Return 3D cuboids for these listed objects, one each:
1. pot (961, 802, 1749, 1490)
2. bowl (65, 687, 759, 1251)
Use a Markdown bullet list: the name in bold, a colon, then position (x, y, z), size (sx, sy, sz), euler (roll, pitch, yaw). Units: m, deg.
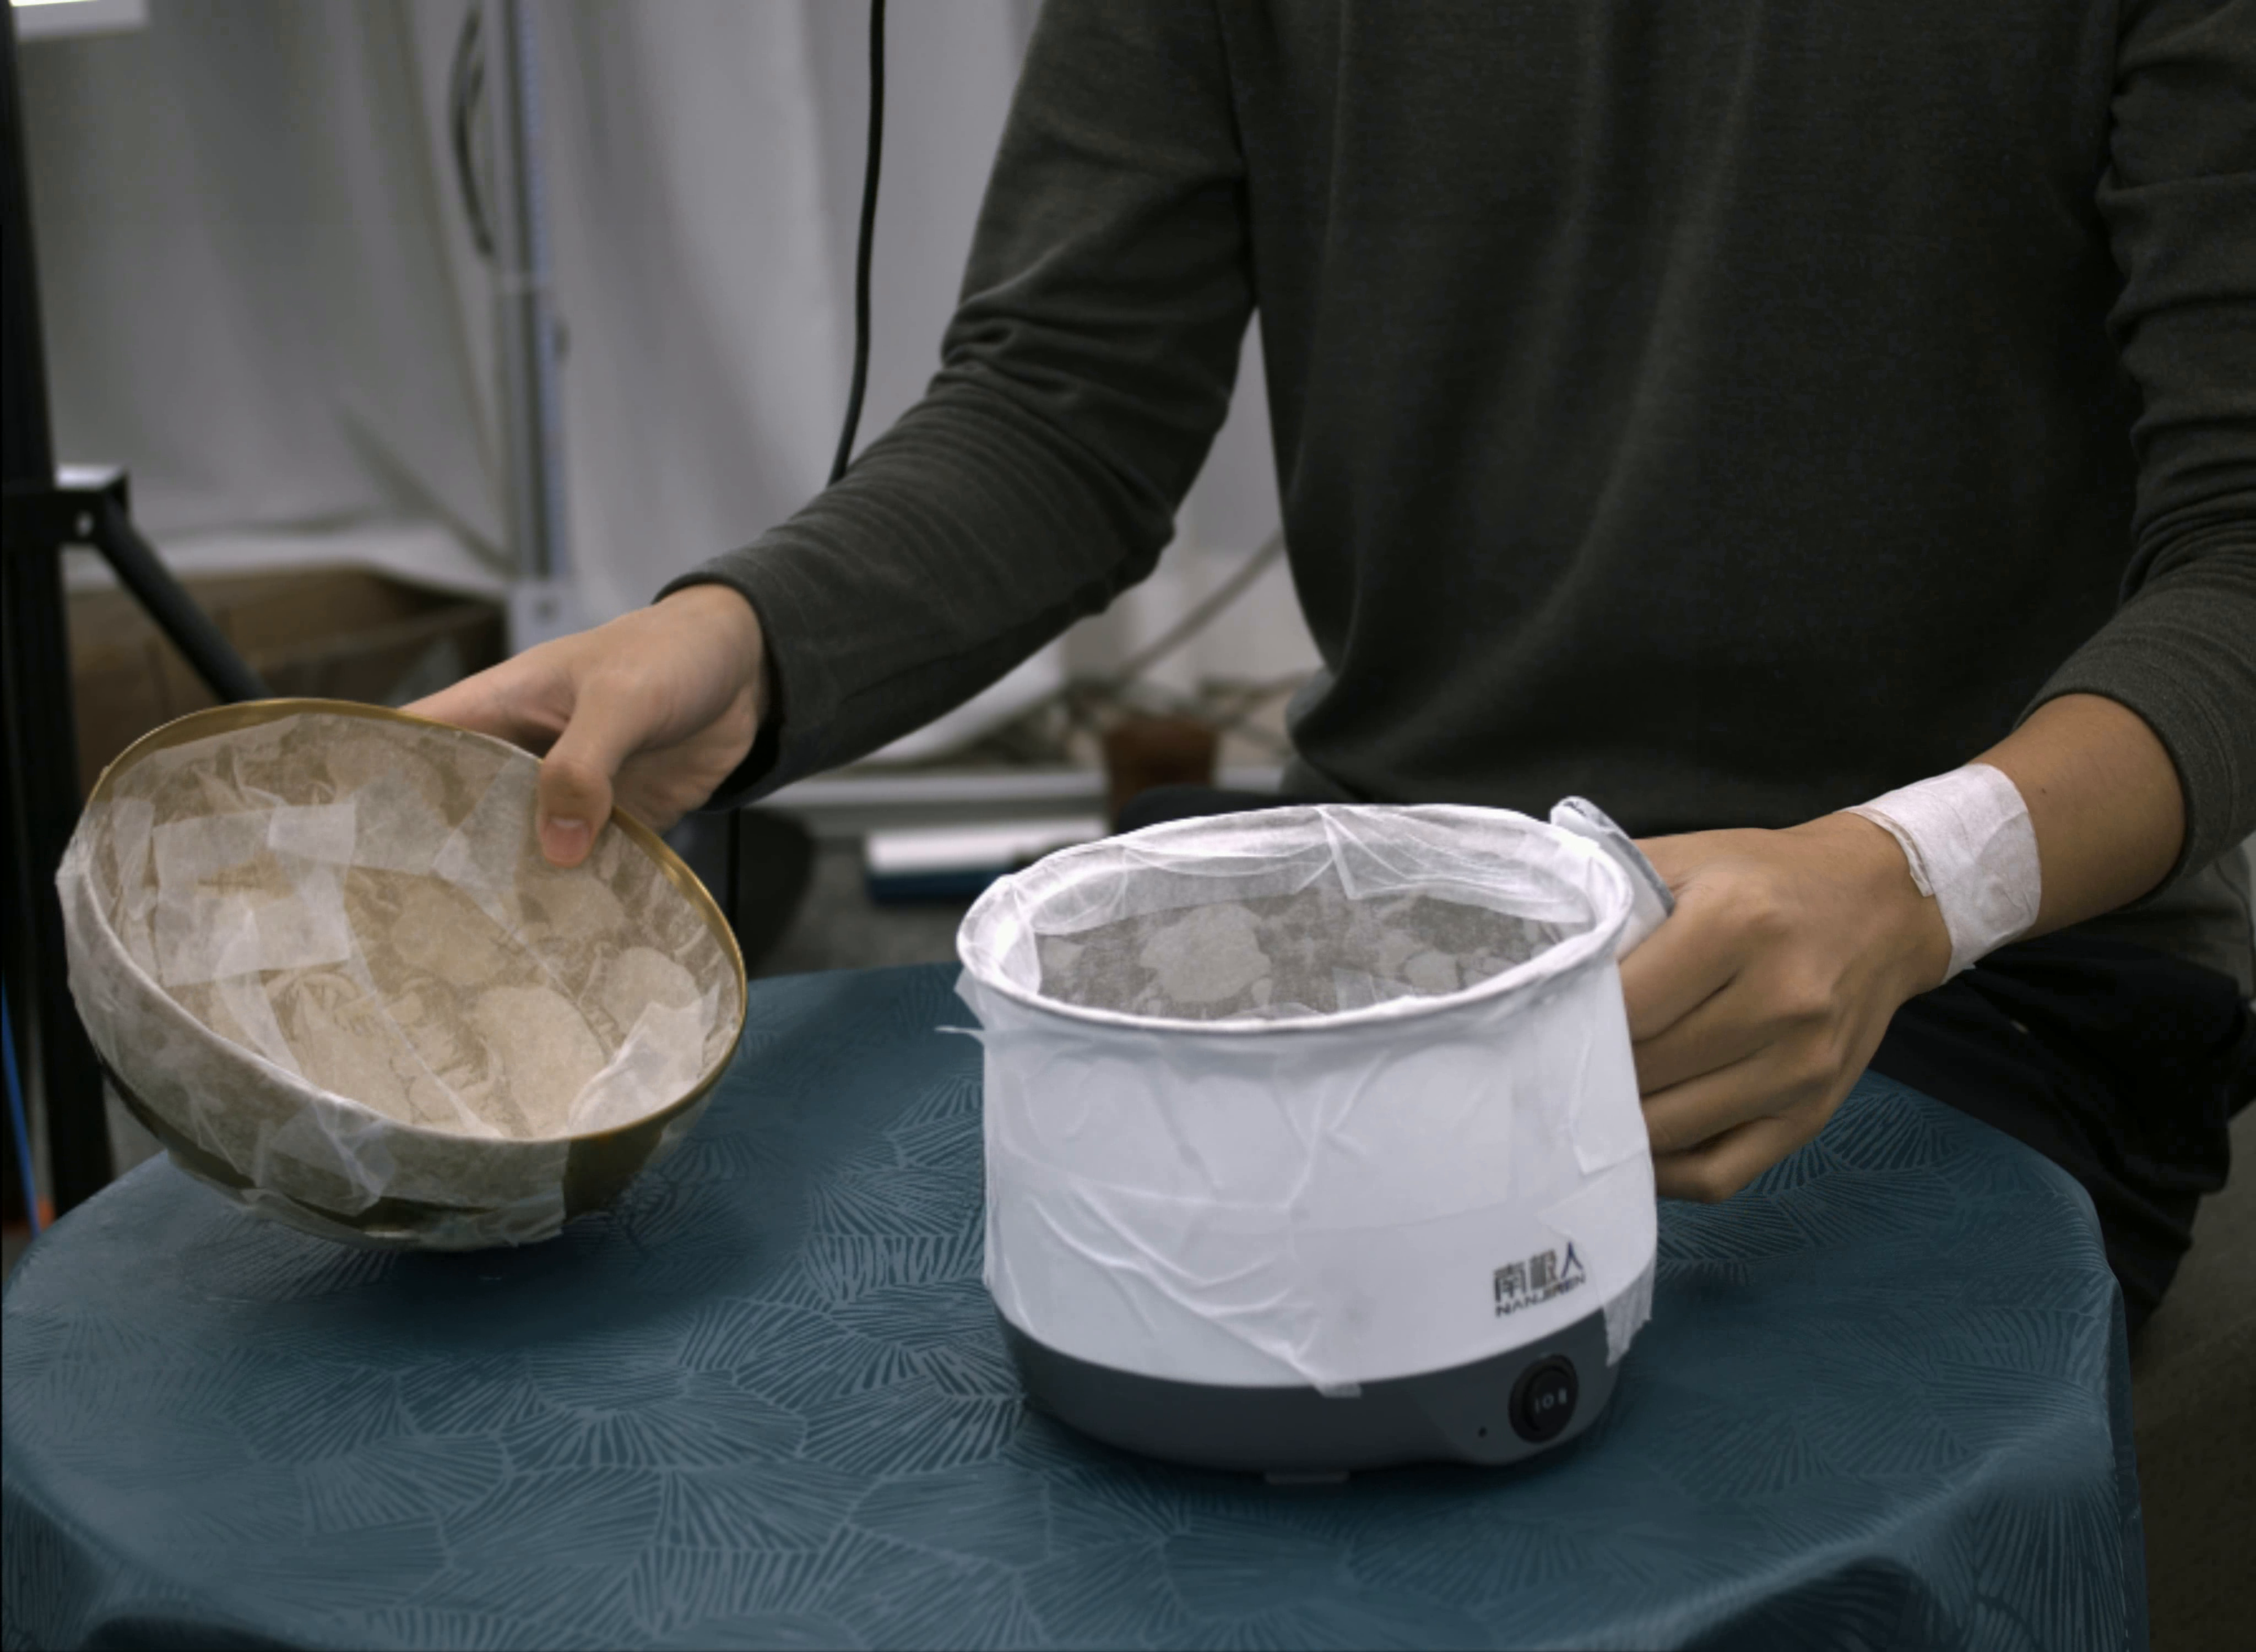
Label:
- **pot**: position (0.070, 0.076, 1.402), size (0.228, 0.136, 0.183), euler (-17, 21, -35)
- **bowl**: position (-0.215, 0.057, 1.560), size (0.212, 0.095, 0.217), euler (16, 30, -11)
